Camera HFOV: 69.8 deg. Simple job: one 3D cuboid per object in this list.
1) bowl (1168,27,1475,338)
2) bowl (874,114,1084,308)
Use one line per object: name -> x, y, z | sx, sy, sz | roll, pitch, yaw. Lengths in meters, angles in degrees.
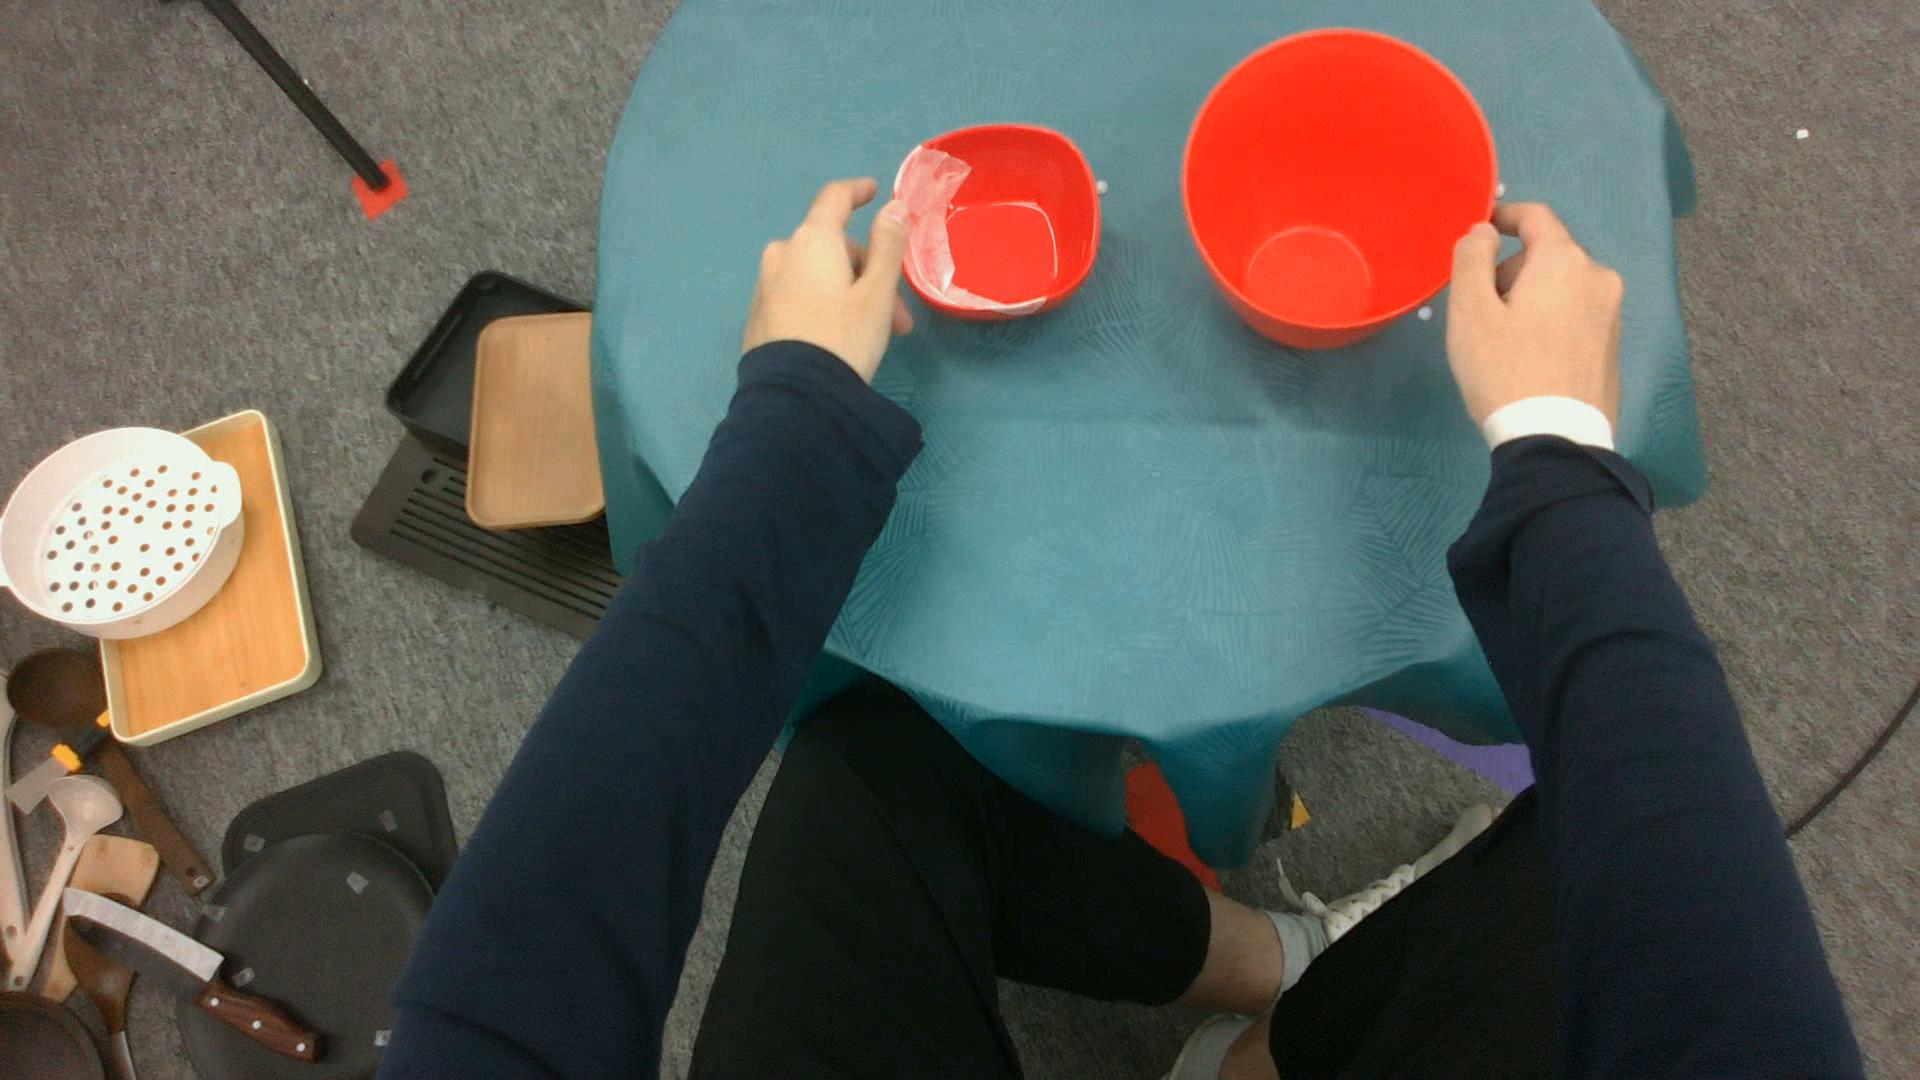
bowl -> 0.179, -0.170, 0.711 | 0.148, 0.104, 0.148 | -1, 74, 5
bowl -> 0.011, -0.169, 0.746 | 0.119, 0.051, 0.119 | -1, 72, 2
